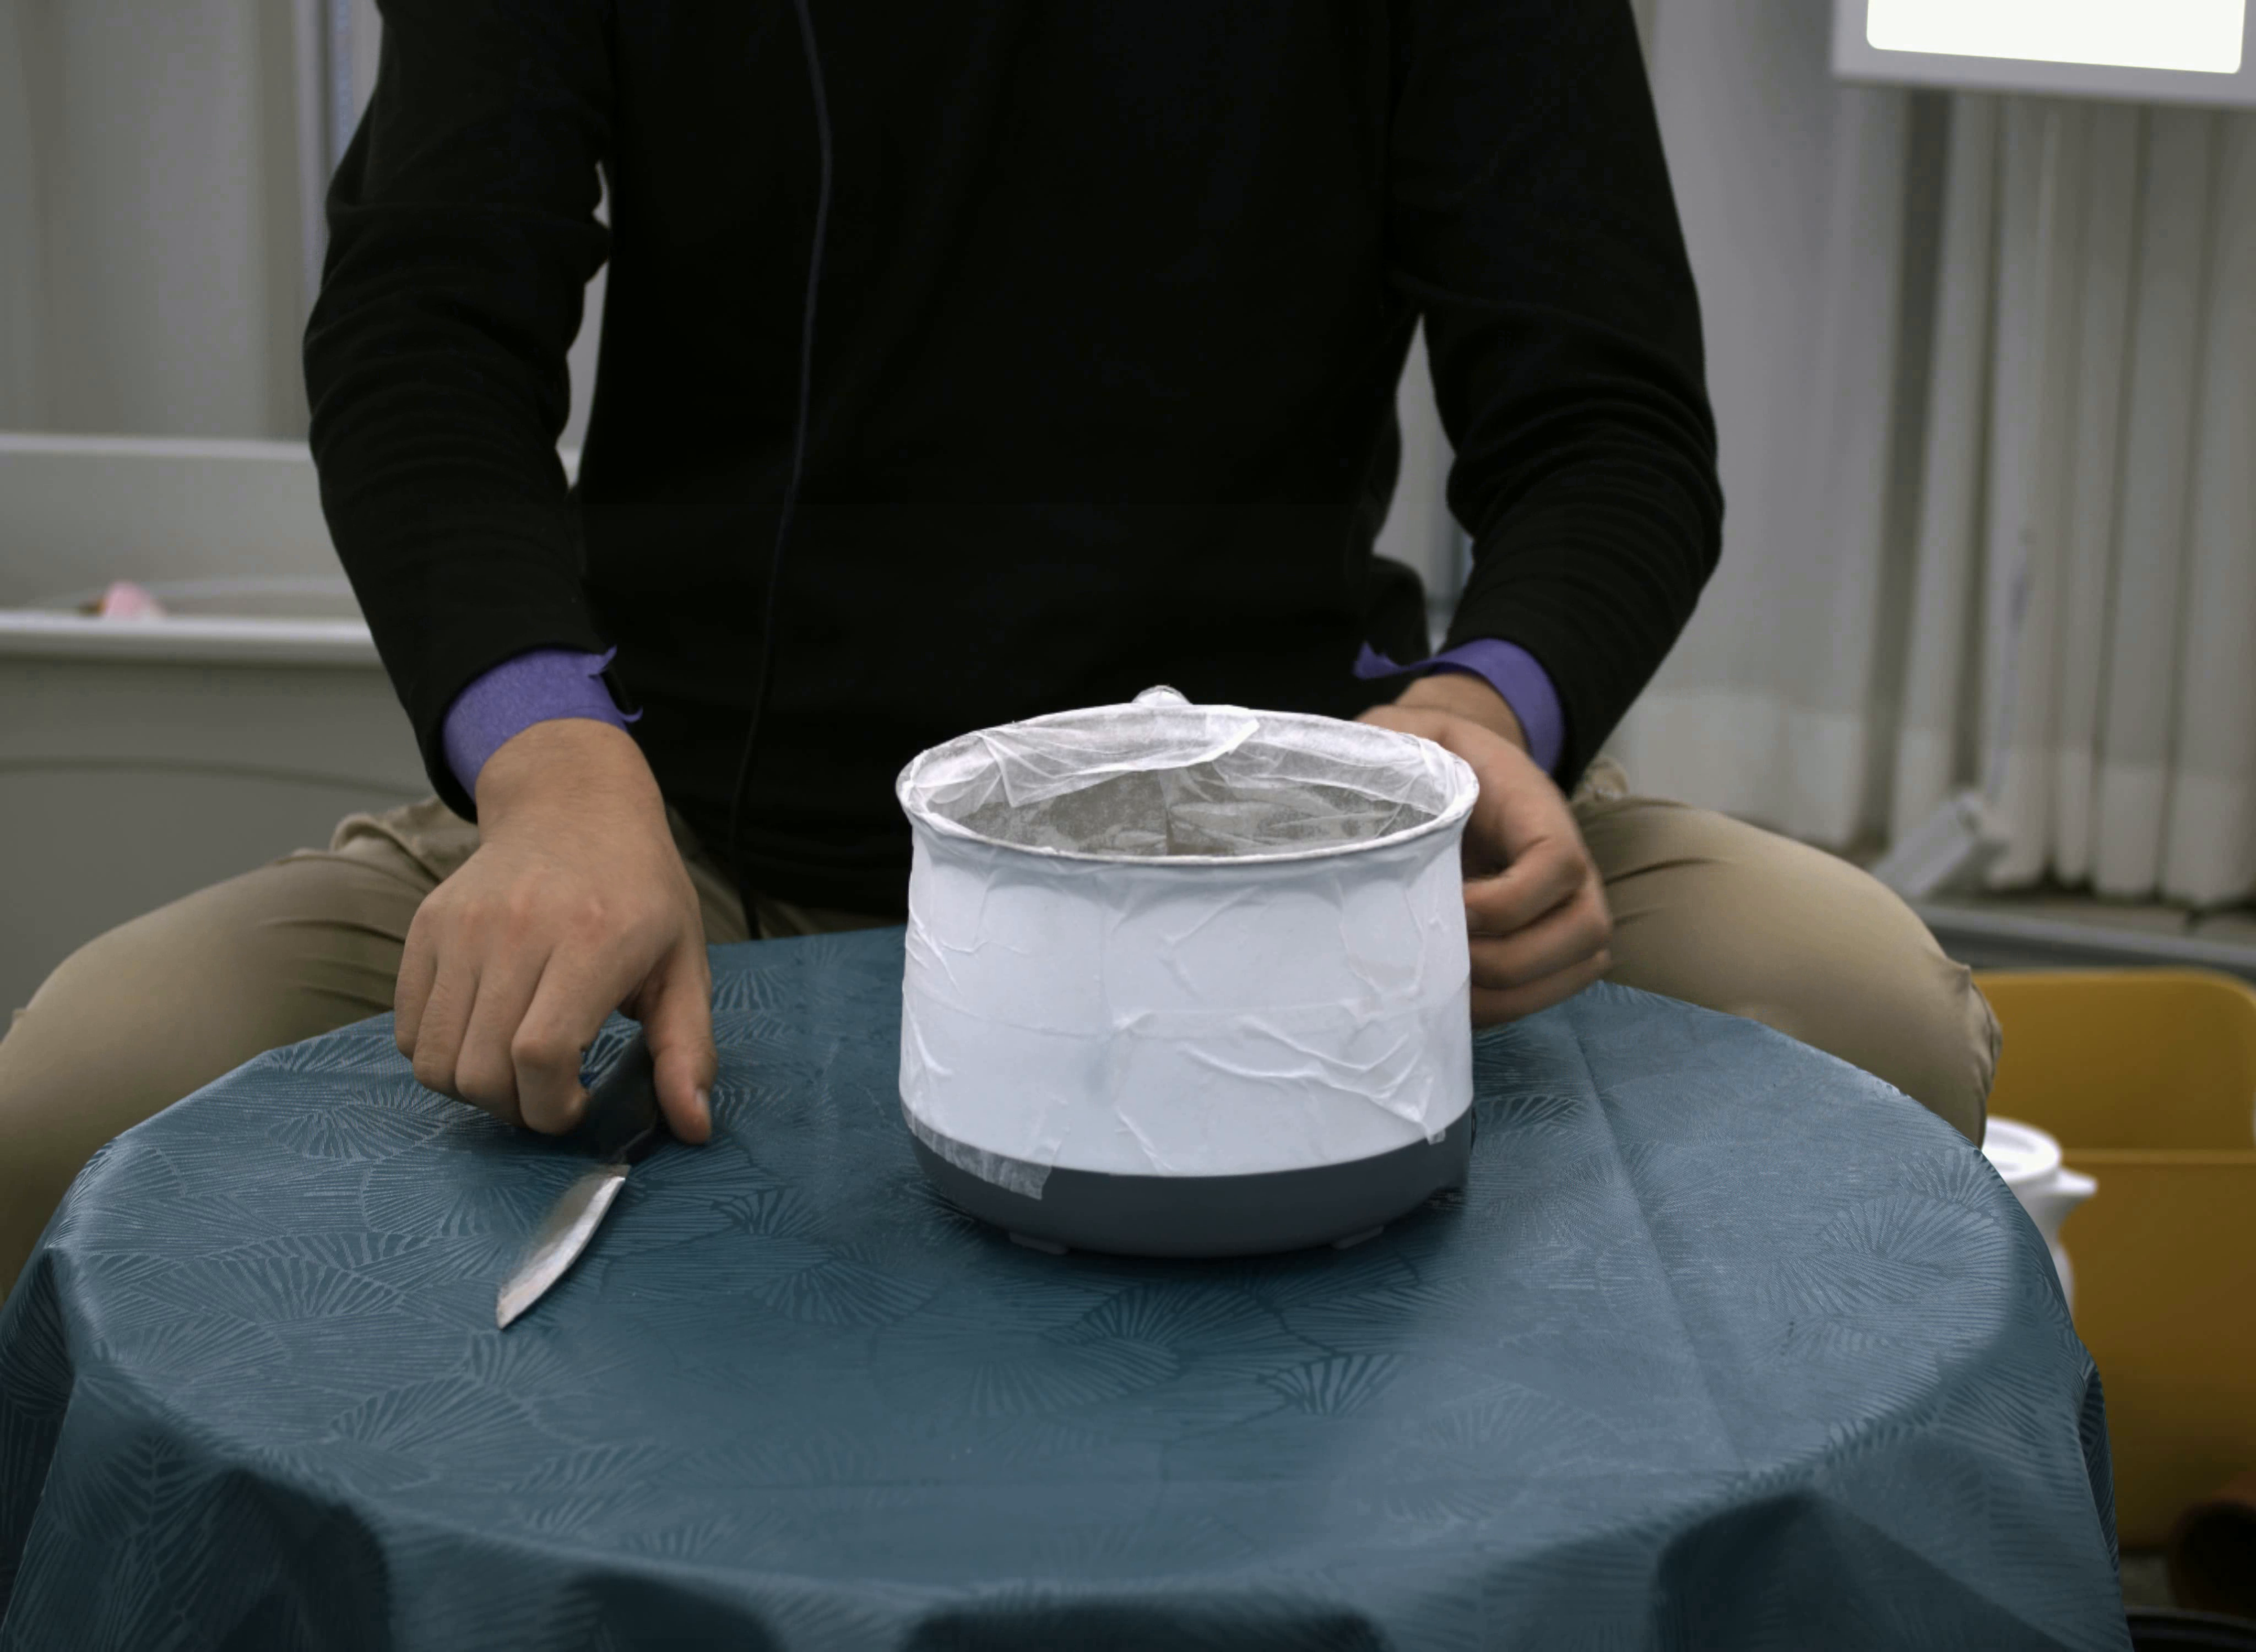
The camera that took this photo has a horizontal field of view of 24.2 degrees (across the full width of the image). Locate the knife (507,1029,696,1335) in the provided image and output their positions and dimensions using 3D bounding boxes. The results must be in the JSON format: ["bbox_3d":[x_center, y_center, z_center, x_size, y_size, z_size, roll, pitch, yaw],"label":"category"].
[{"bbox_3d":[-0.164,0.108,1.612,0.024,0.016,0.237,1,18,7],"label":"knife"}]

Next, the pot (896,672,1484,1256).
[{"bbox_3d":[0.015,0.037,1.628,0.178,0.138,0.232,0,17,-6],"label":"pot"}]
